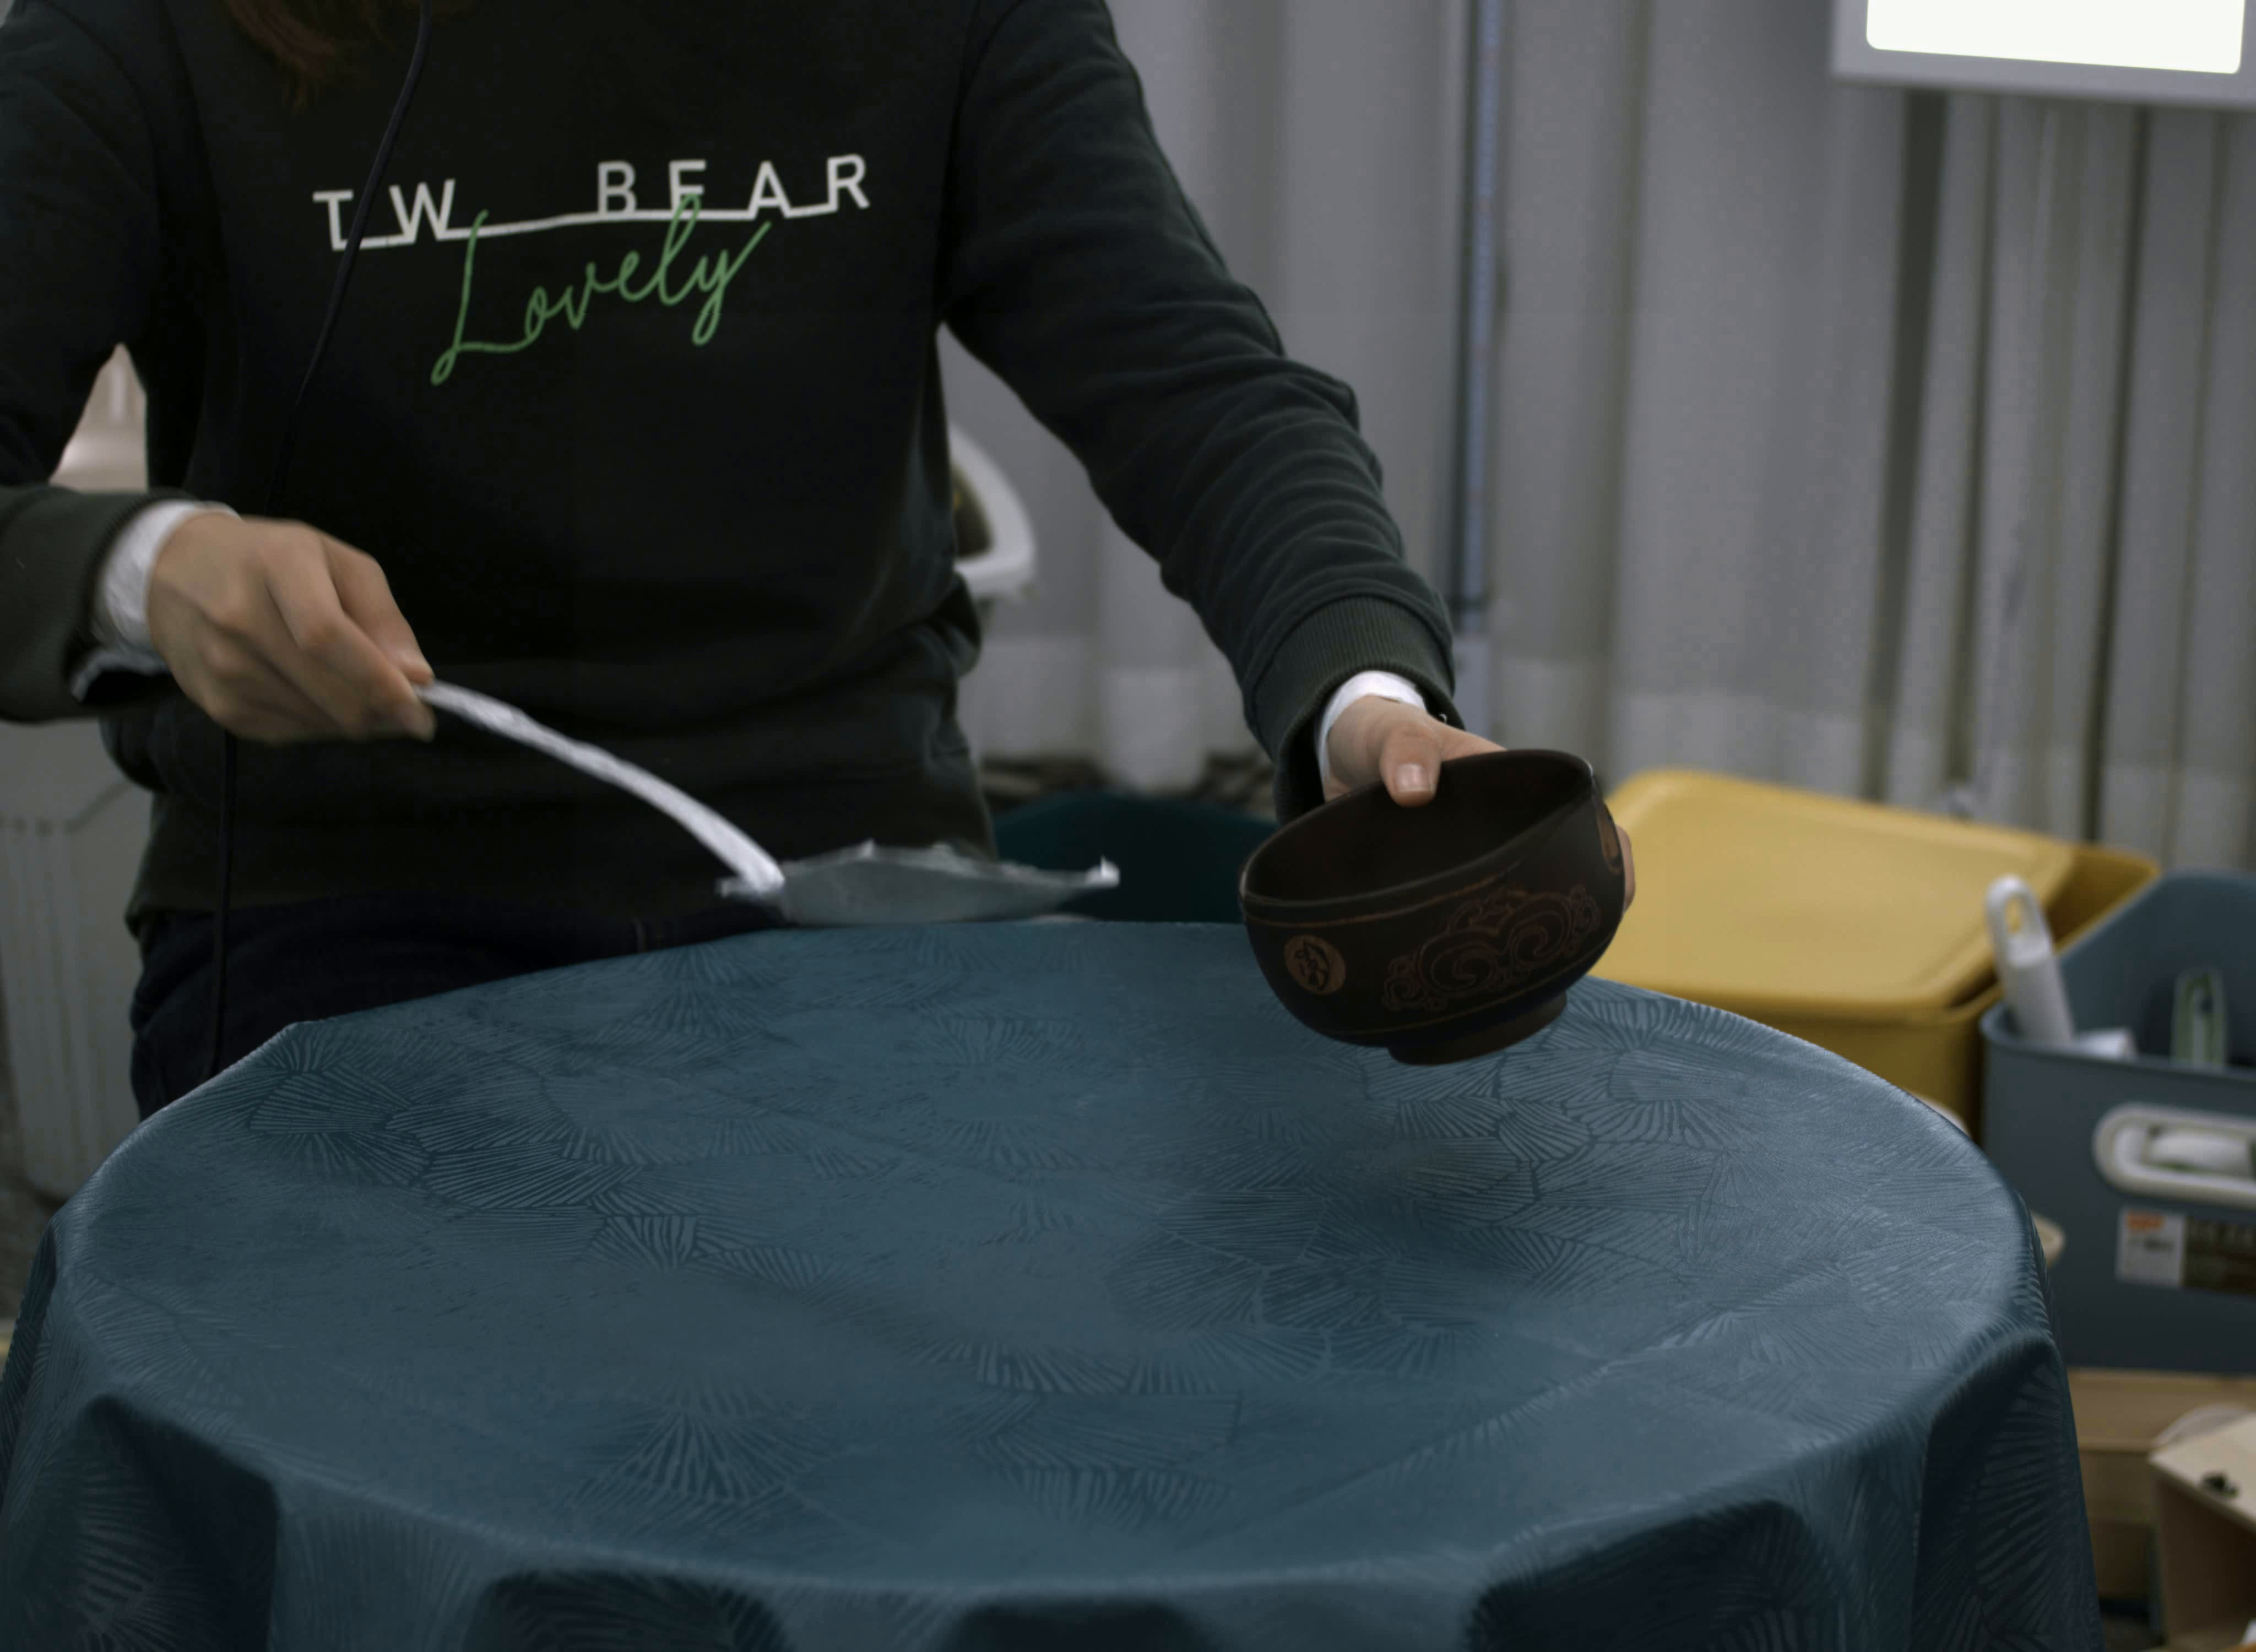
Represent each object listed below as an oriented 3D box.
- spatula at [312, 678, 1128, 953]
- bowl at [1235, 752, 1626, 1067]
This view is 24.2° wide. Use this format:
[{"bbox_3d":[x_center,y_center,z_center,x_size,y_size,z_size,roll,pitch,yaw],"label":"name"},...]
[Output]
[{"bbox_3d":[-0.144,-0.013,1.548,0.099,0.045,0.360,3,15,-43],"label":"spatula"},{"bbox_3d":[0.097,0.031,1.611,0.117,0.070,0.117,-15,16,5],"label":"bowl"}]
